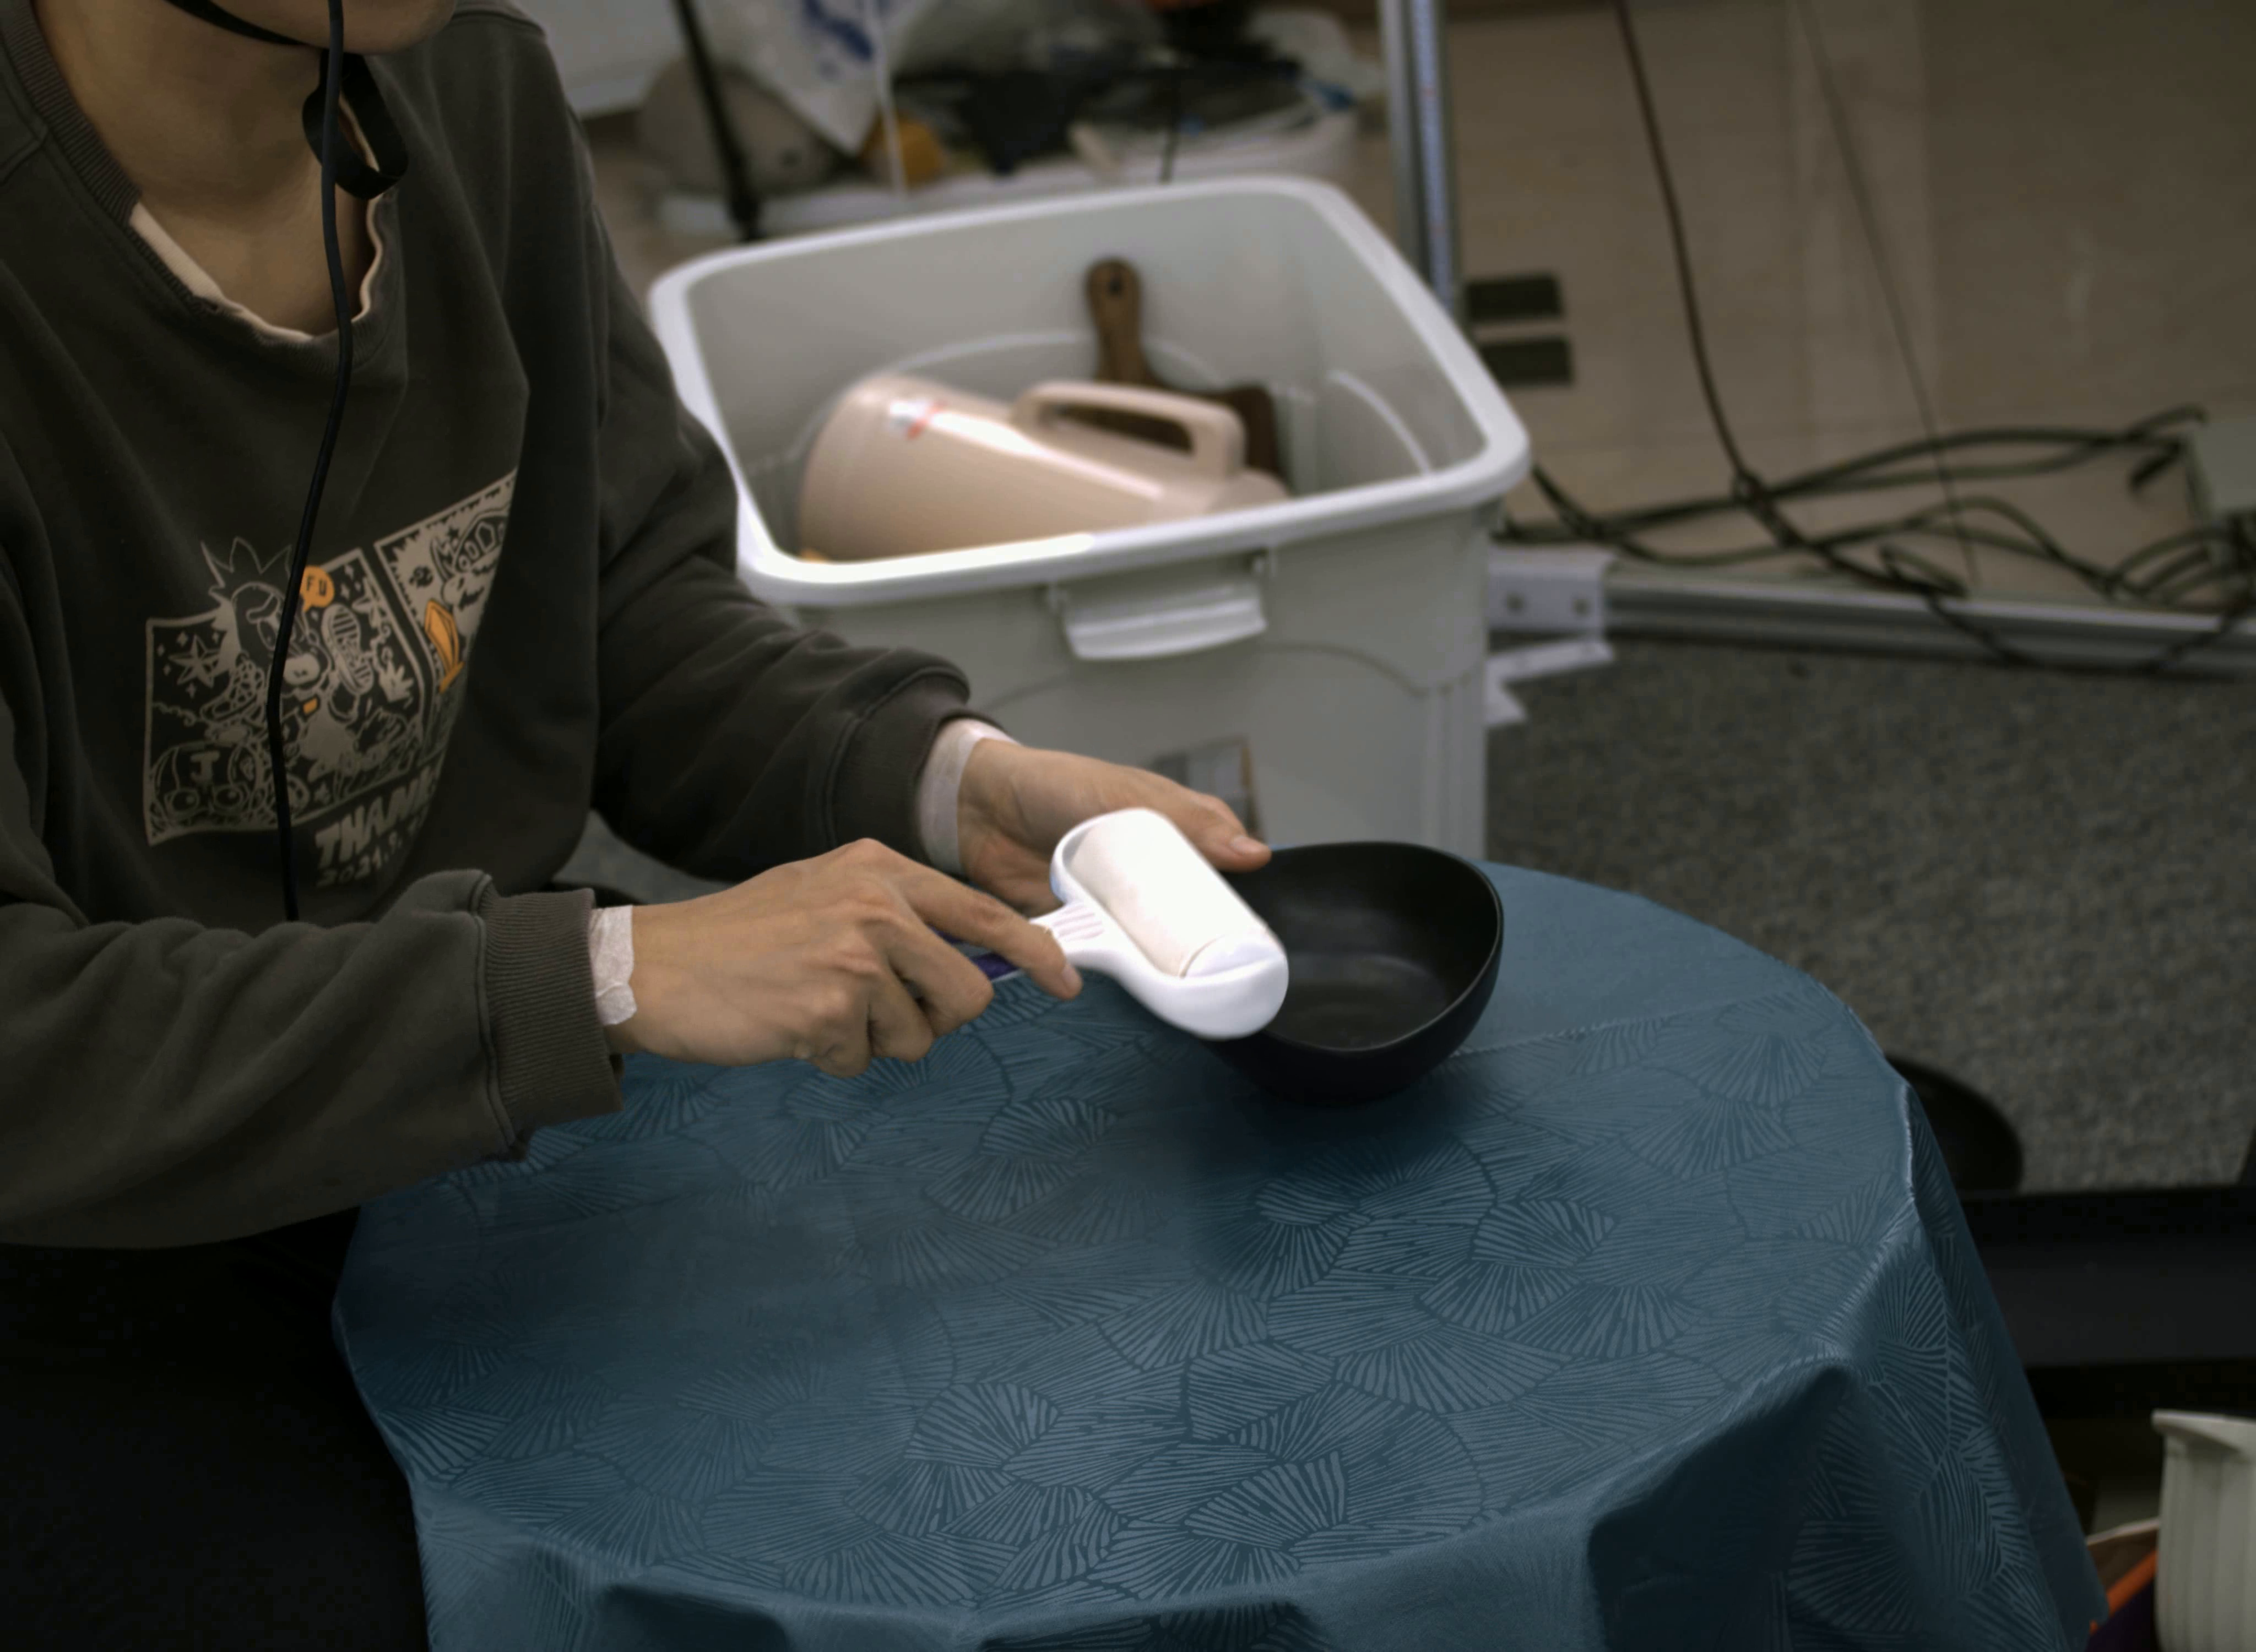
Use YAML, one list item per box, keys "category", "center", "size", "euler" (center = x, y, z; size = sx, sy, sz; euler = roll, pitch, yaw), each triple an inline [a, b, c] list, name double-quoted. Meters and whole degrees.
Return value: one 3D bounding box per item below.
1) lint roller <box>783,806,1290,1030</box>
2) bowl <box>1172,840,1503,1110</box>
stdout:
- category: "lint roller"
  center: [-0.041, 0.034, 2.089]
  size: [0.180, 0.051, 0.131]
  euler: [0, 27, -24]
- category: "bowl"
  center: [0.080, 0.065, 2.209]
  size: [0.137, 0.068, 0.168]
  euler: [-12, 27, -8]
